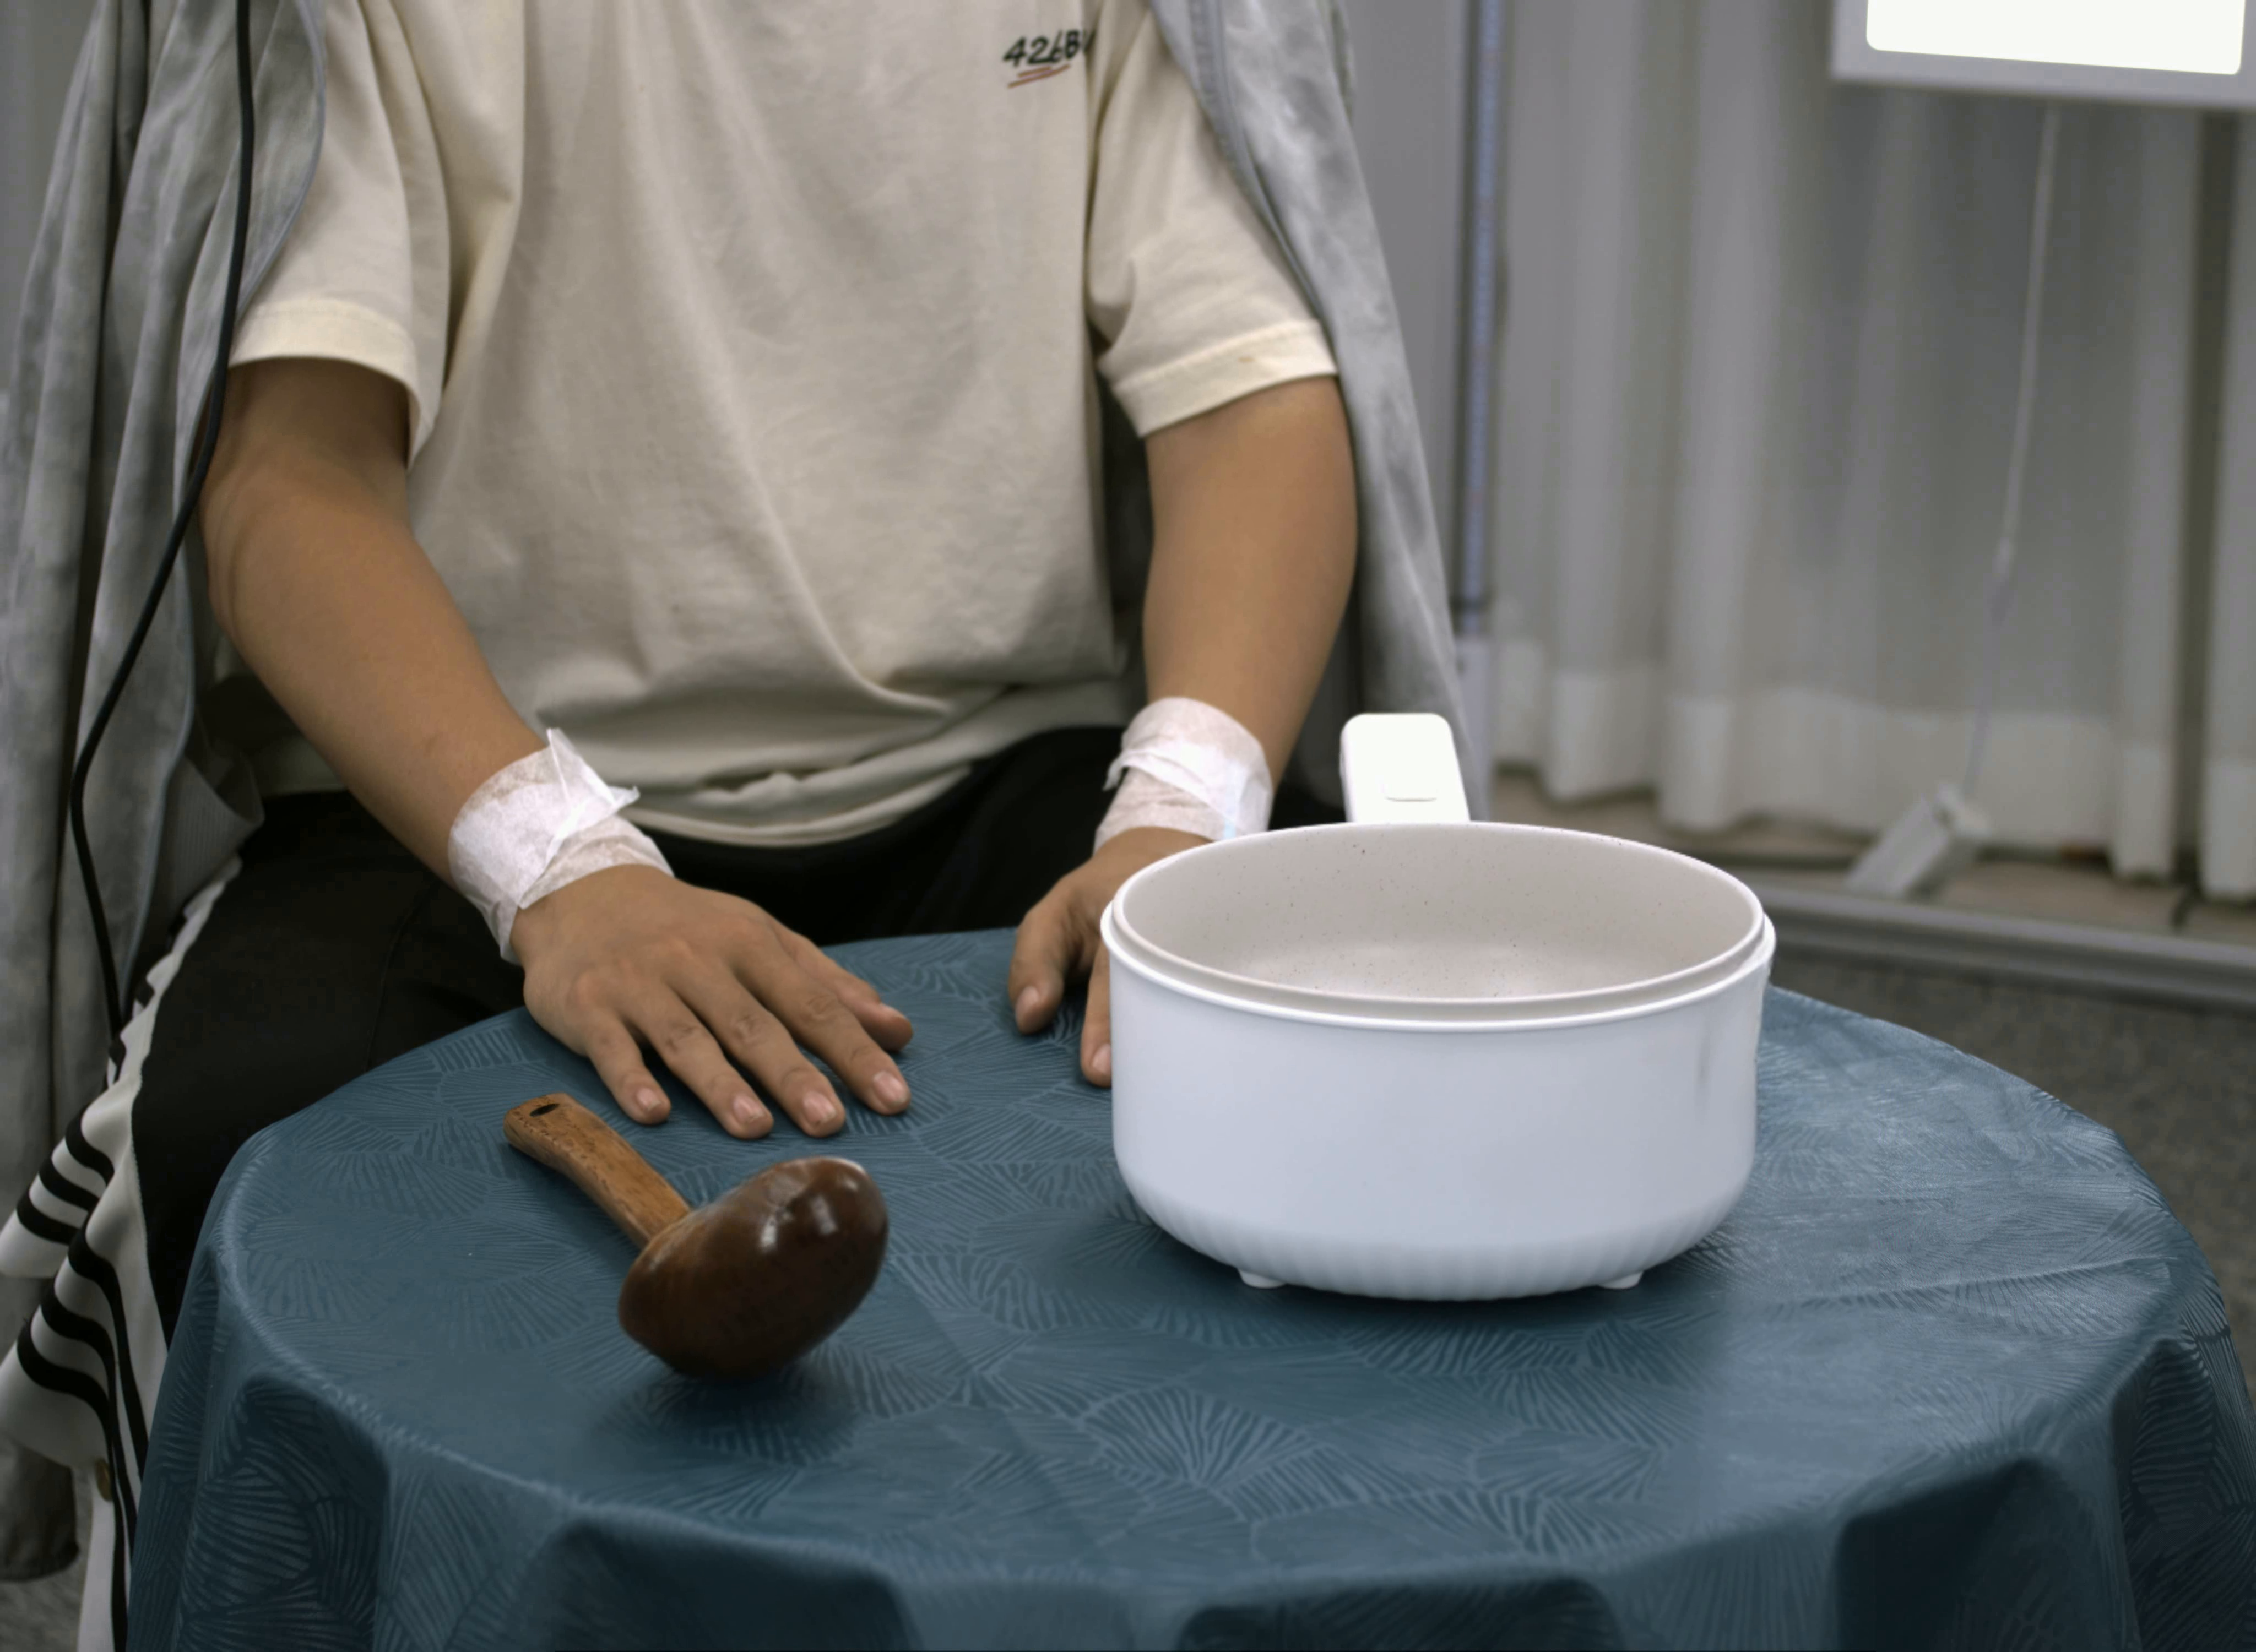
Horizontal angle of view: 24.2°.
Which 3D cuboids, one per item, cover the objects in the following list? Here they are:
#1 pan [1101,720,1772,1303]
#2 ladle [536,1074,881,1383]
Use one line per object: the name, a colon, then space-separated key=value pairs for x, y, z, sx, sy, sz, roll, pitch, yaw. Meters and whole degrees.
pan: x=0.093 y=0.053 z=1.660 sx=0.200 sy=0.103 sz=0.353 roll=-1 pitch=15 yaw=0
ladle: x=-0.142 y=0.095 z=1.536 sx=0.082 sy=0.077 sz=0.271 roll=-17 pitch=22 yaw=-16
